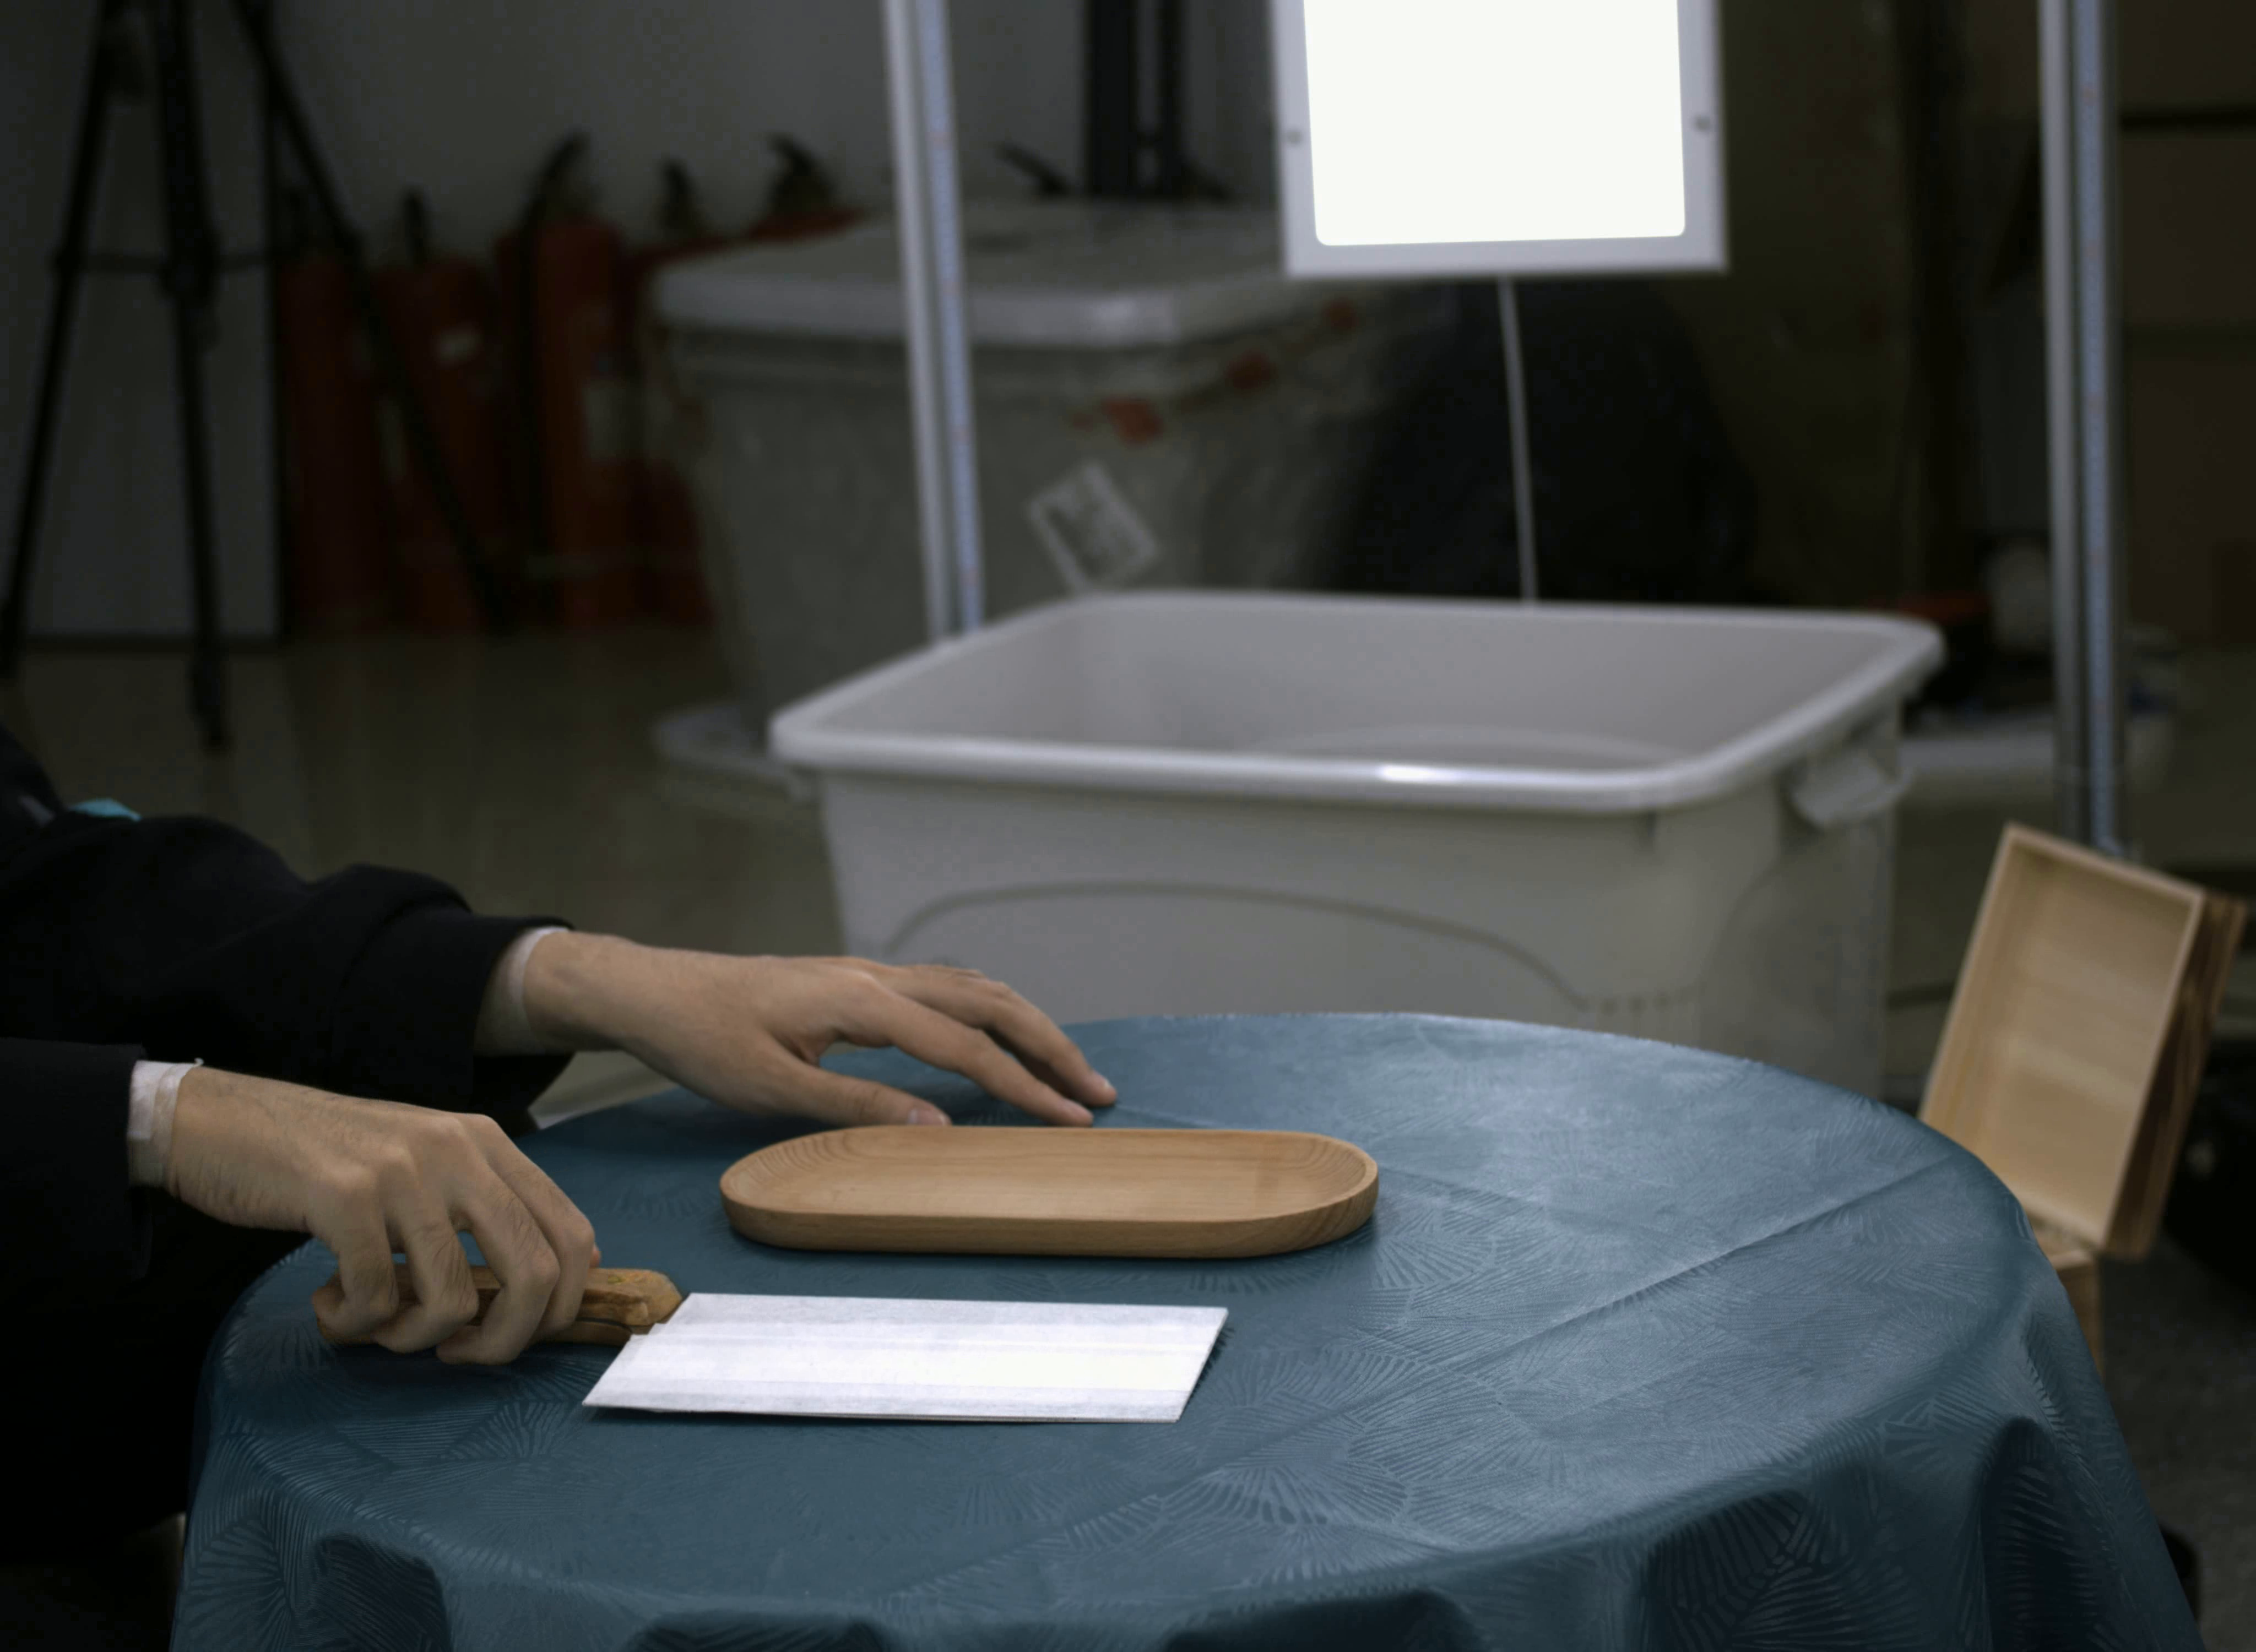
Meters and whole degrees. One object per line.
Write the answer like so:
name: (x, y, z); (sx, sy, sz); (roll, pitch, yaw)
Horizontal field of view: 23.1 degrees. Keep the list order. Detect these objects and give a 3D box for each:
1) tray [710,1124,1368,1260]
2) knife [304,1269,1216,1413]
tray: (-0.031, 0.125, 1.879); (0.234, 0.020, 0.100); (-1, 13, 19)
knife: (-0.124, 0.166, 1.751); (0.308, 0.021, 0.091); (1, 17, 14)
